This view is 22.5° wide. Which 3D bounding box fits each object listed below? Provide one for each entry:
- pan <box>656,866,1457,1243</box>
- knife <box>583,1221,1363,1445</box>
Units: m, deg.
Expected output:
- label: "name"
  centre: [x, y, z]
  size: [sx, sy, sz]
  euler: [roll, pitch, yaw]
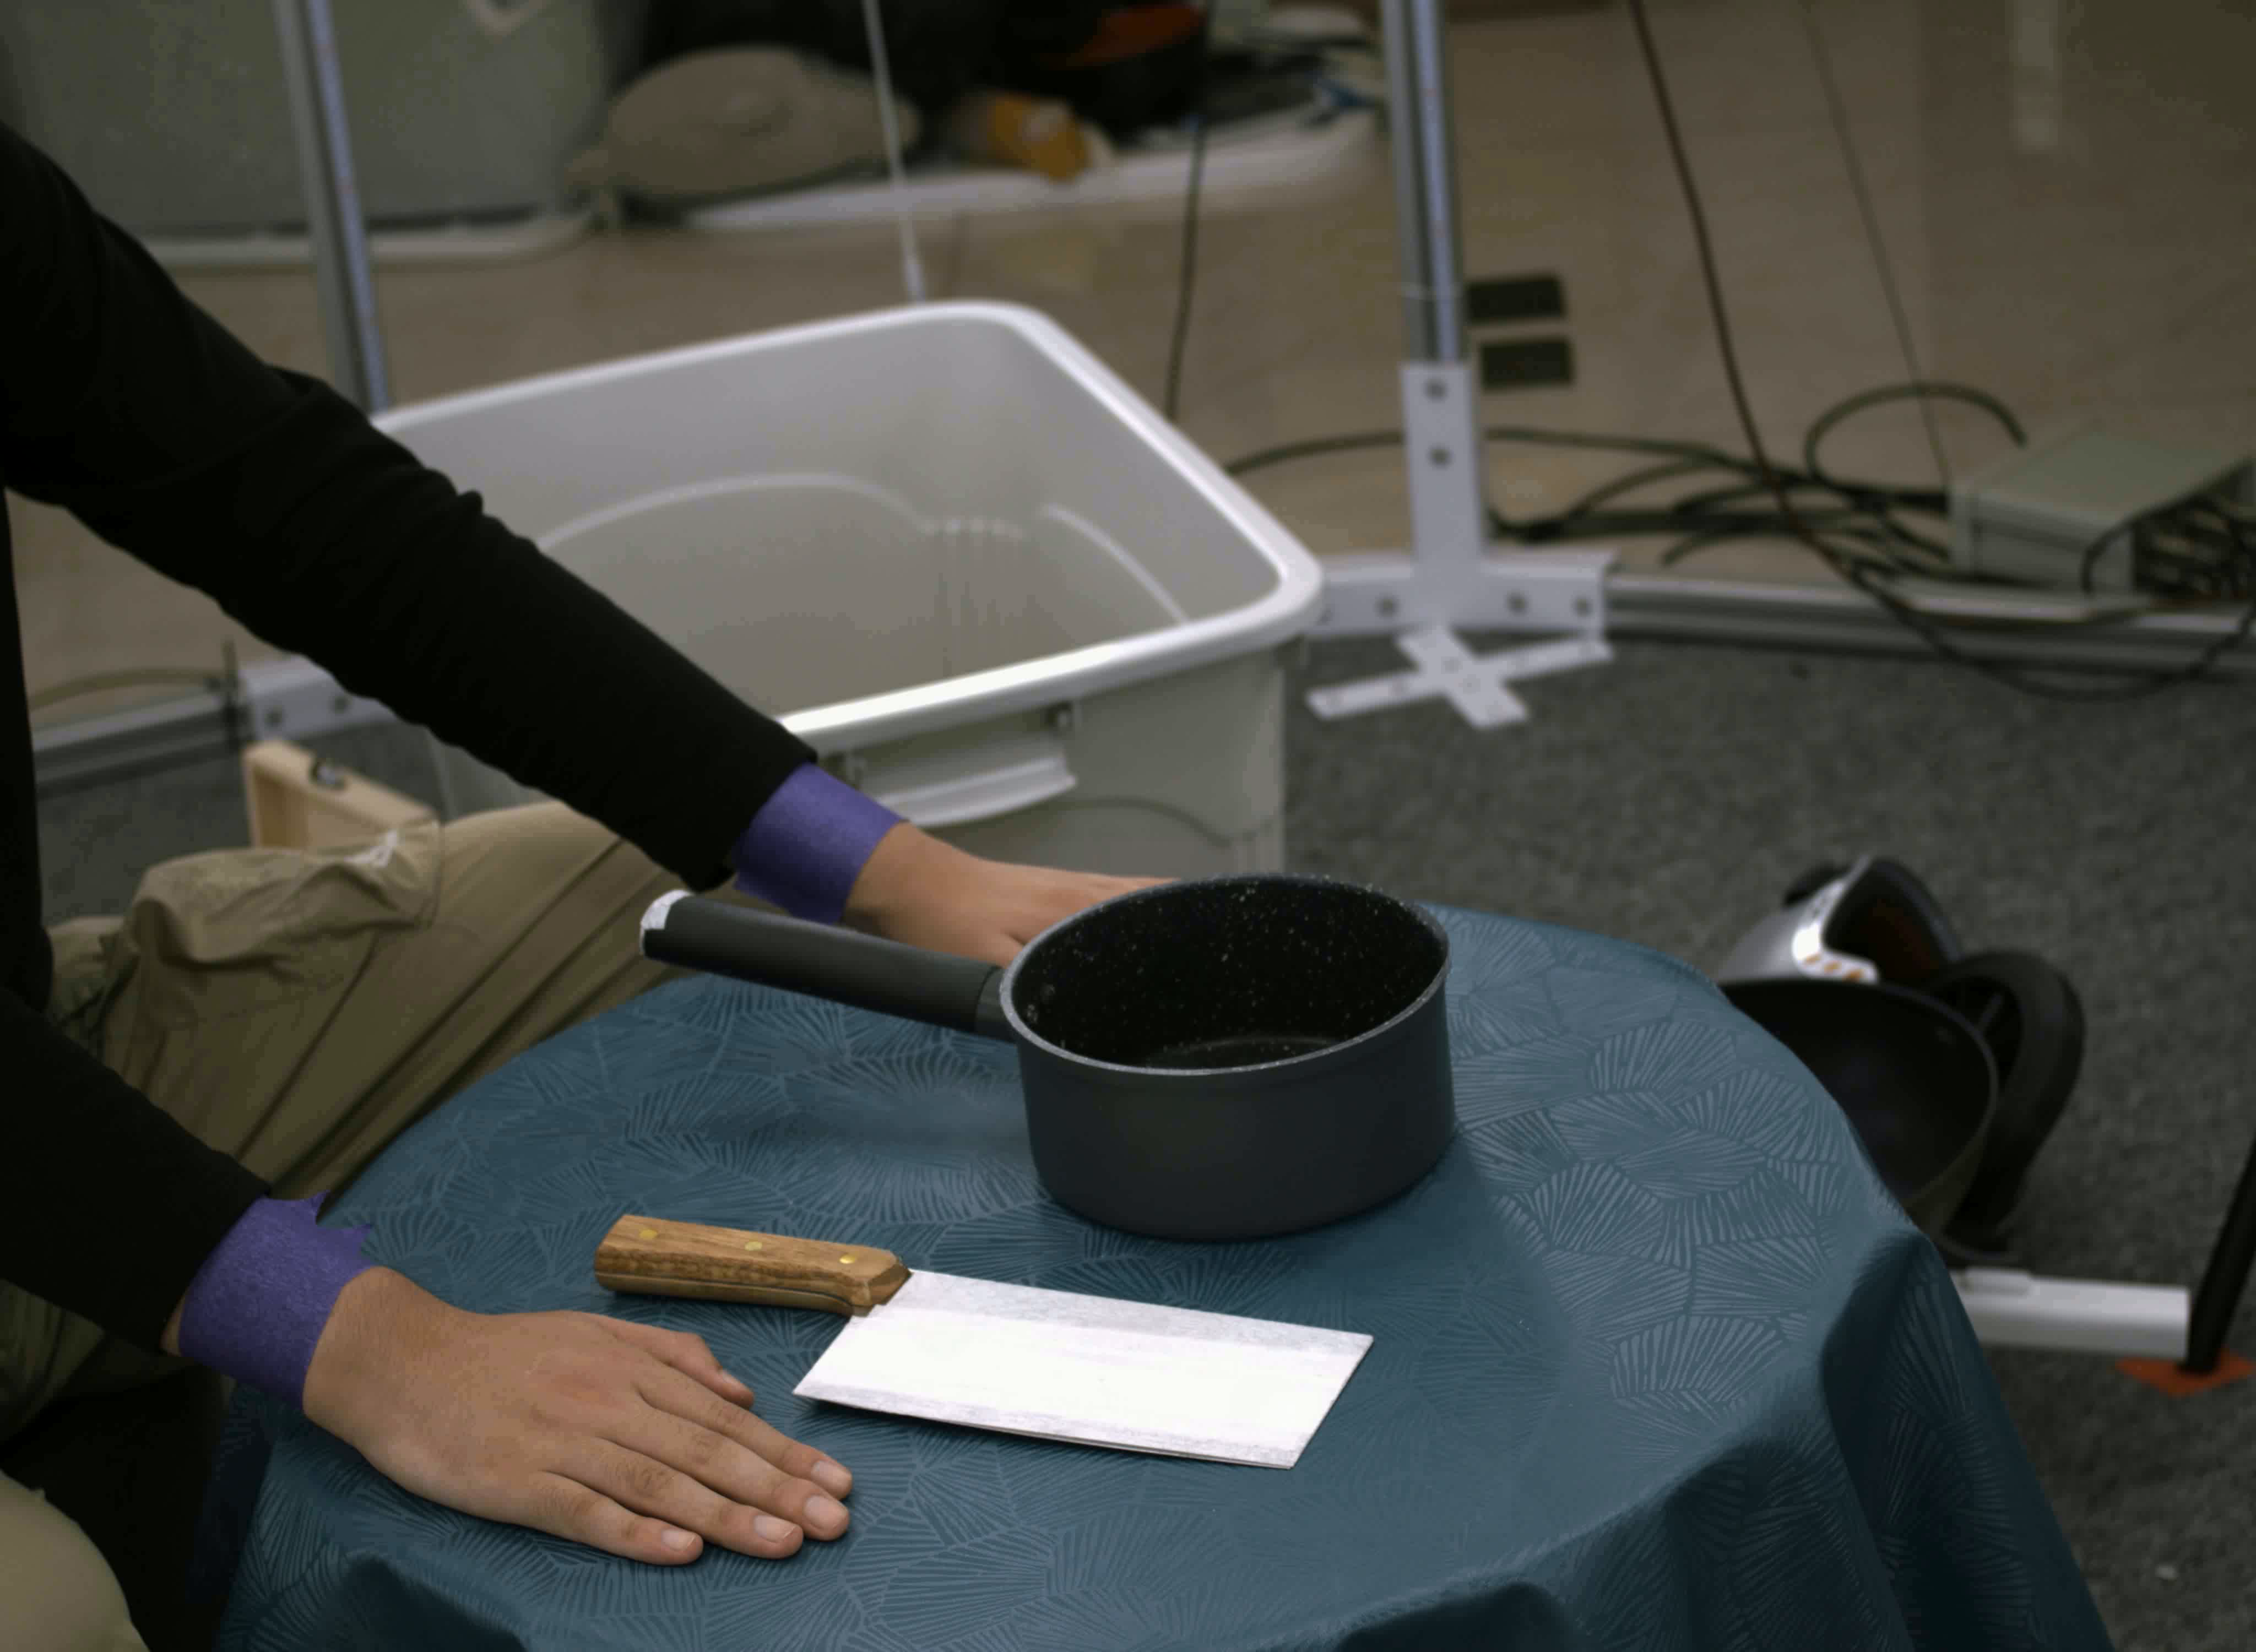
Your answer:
- label: "pan"
  centre: [-0.031, 0.079, 2.188]
  size: [0.327, 0.088, 0.170]
  euler: [6, 28, 24]
- label: "knife"
  centre: [-0.068, 0.186, 2.048]
  size: [0.305, 0.021, 0.091]
  euler: [6, 29, 21]
